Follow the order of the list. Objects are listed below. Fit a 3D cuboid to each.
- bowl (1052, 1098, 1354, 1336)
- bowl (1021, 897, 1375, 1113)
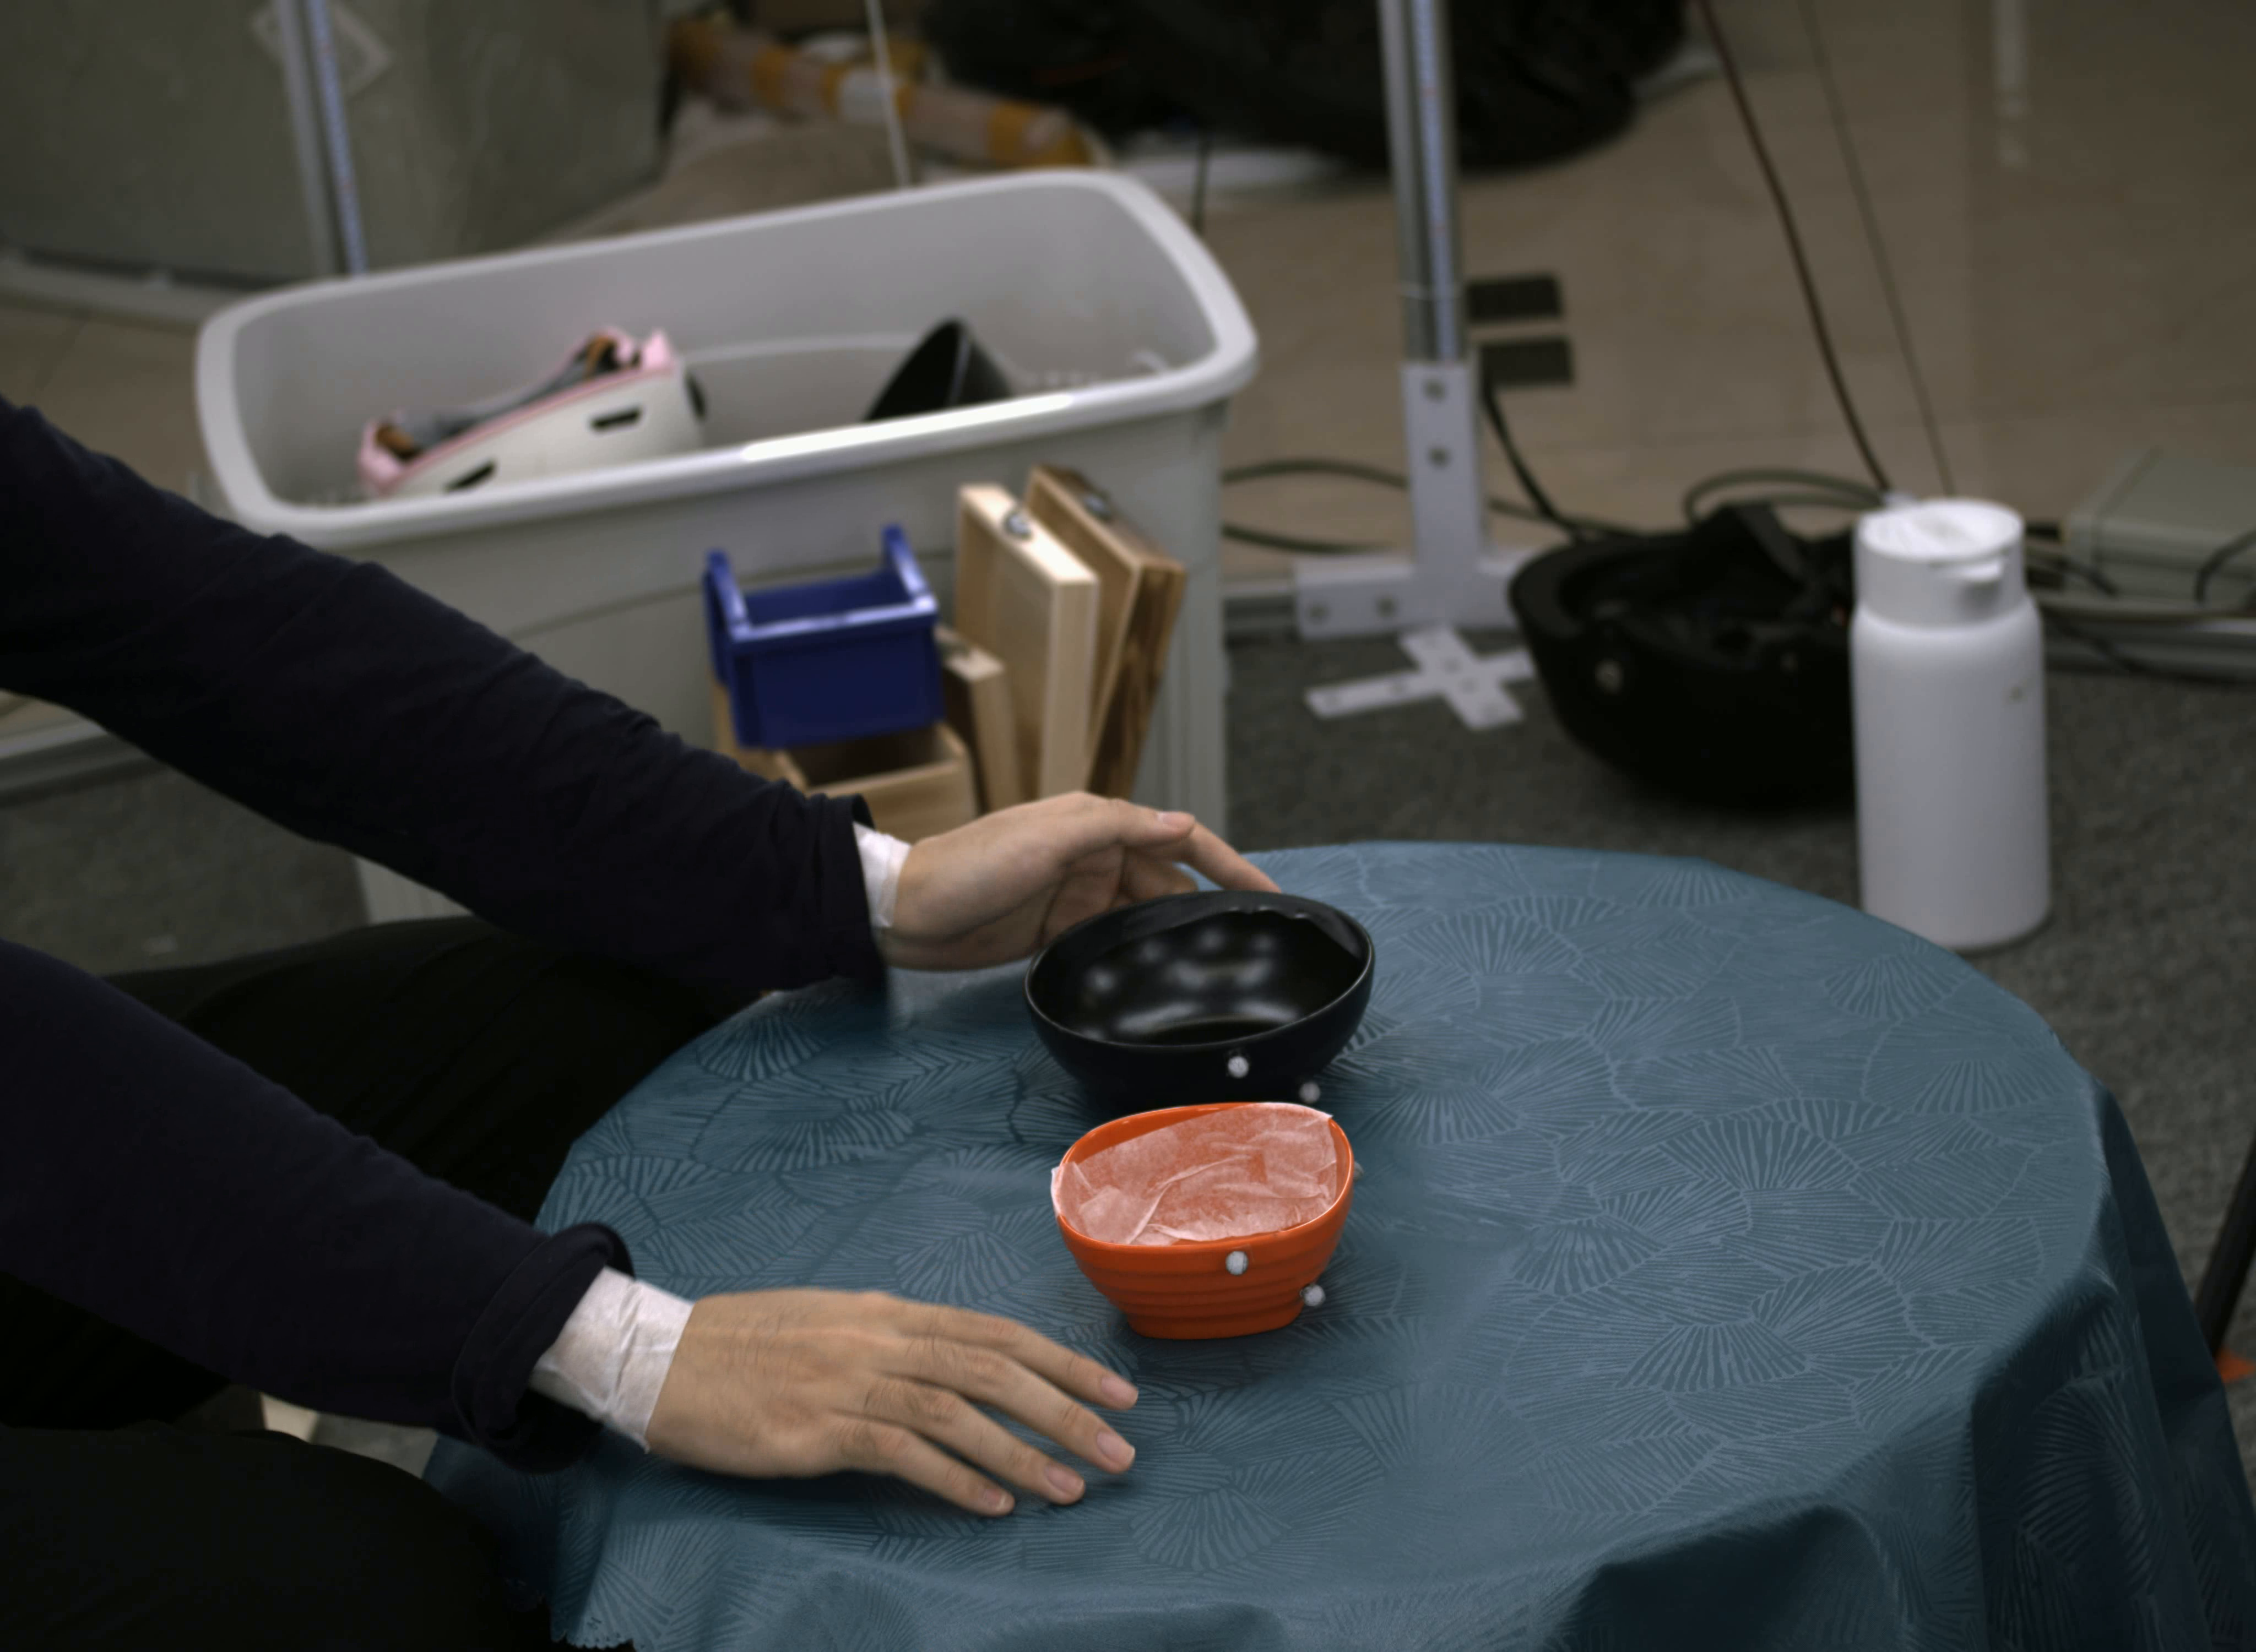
[{"bbox_3d":[0.029,0.147,2.064,0.119,0.052,0.117,-4,26,2],"label":"bowl"},{"bbox_3d":[0.030,0.079,2.221,0.140,0.050,0.138,-9,24,4],"label":"bowl"}]
